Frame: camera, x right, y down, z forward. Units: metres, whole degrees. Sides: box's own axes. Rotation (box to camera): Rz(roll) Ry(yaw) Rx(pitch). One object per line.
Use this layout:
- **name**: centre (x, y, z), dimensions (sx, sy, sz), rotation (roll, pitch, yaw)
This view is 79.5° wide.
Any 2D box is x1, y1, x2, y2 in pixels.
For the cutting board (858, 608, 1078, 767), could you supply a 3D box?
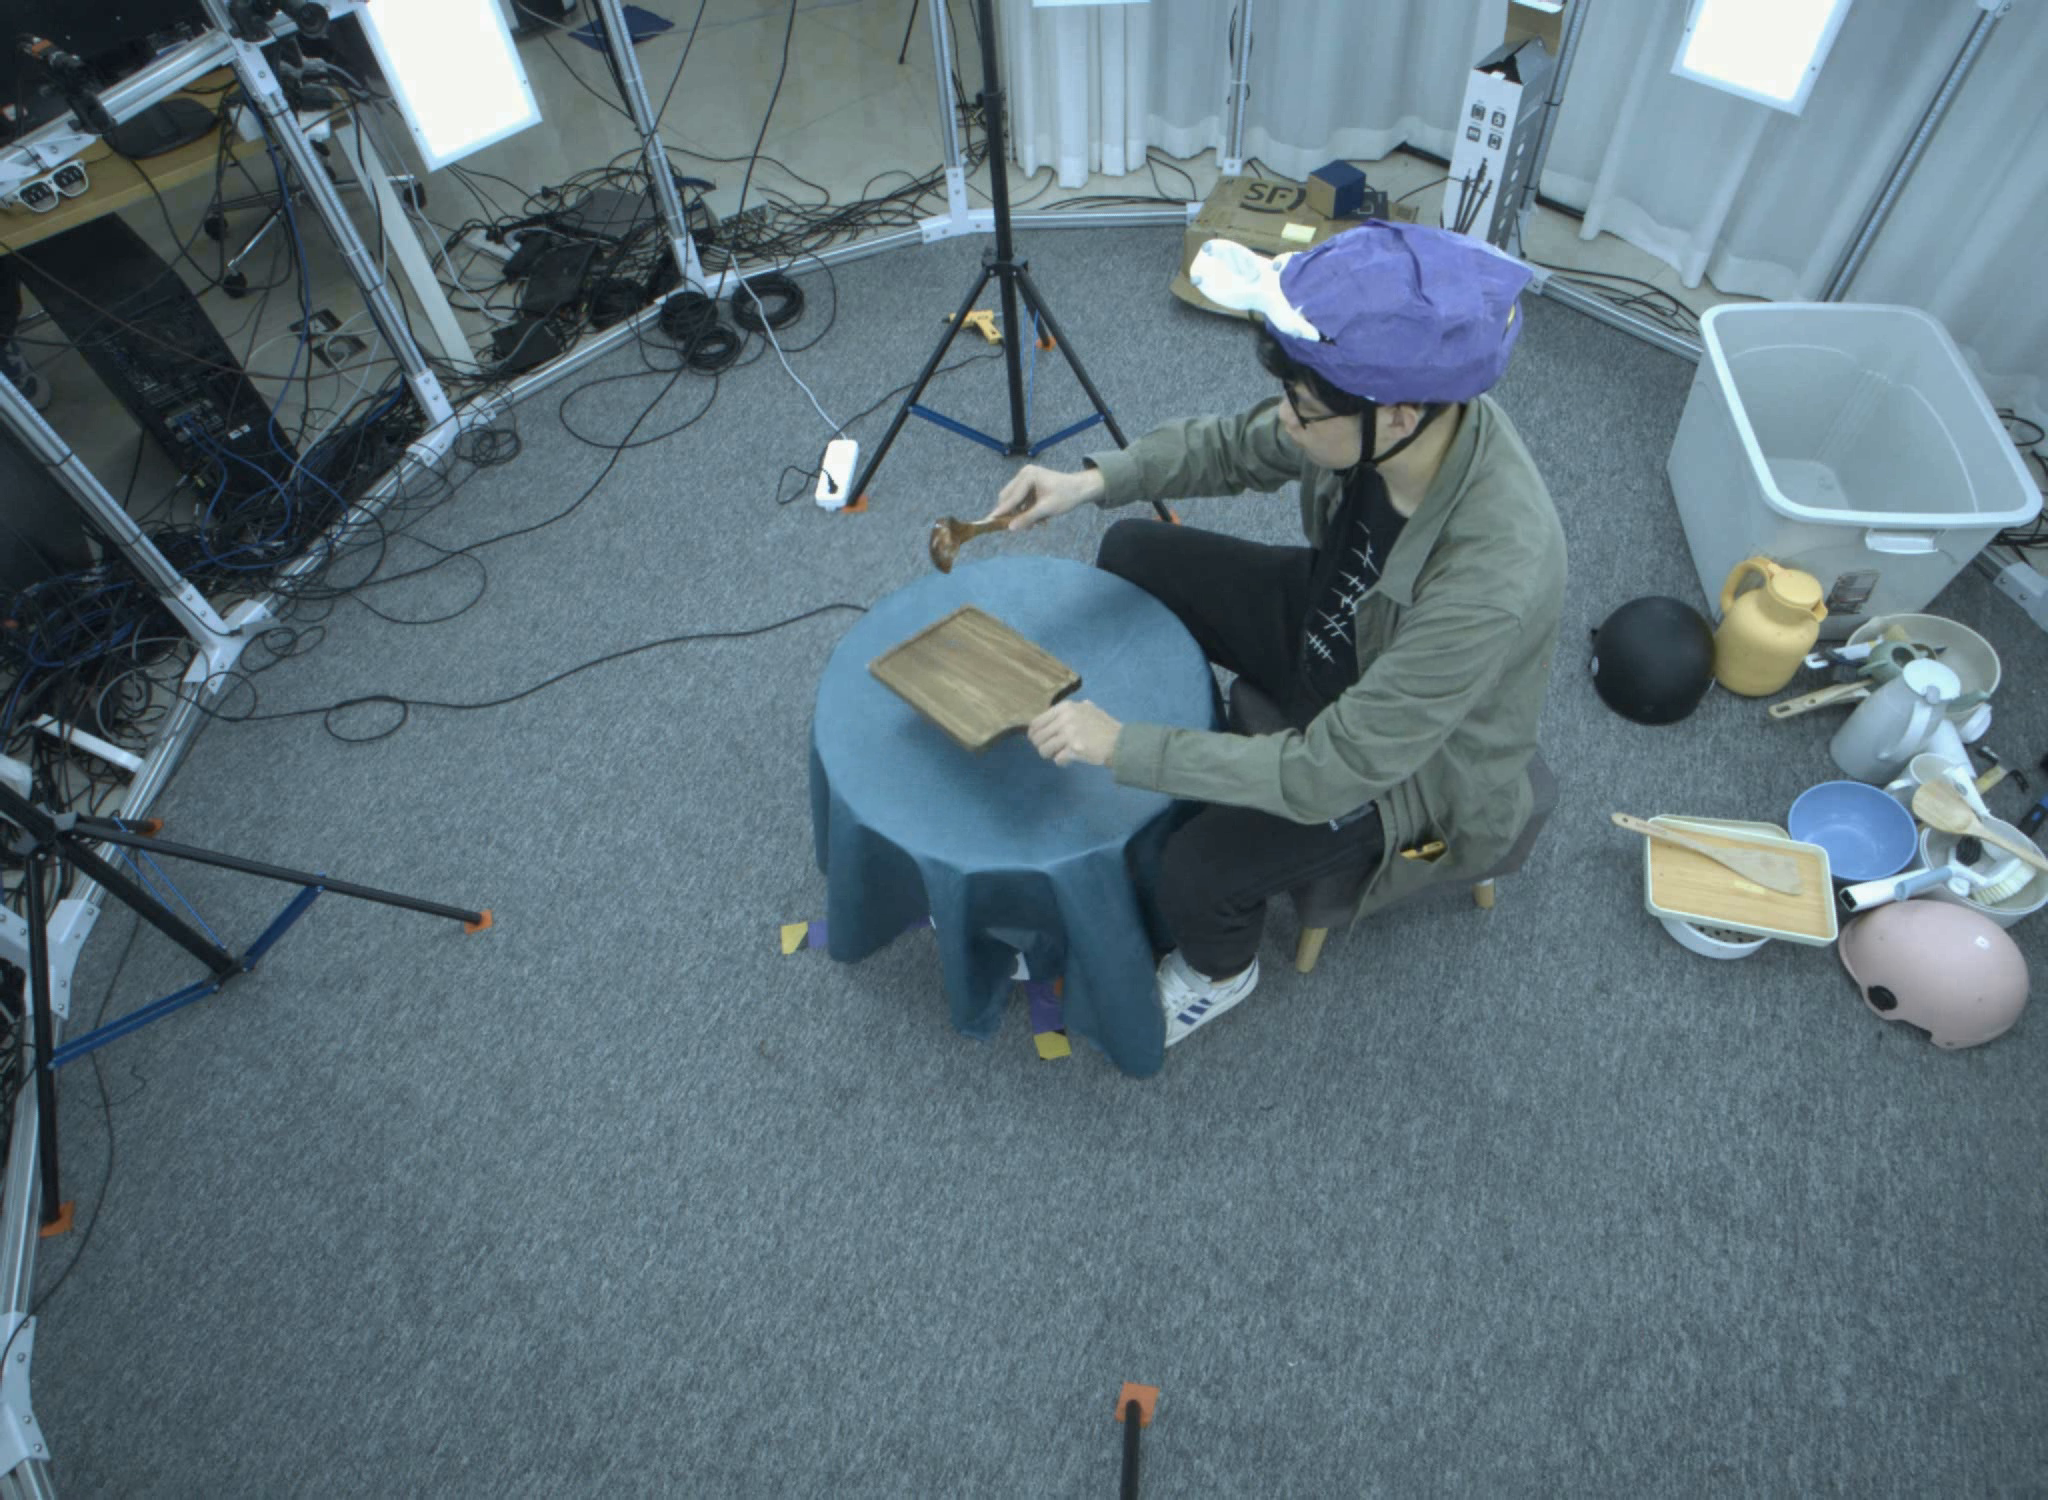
- **cutting board**: centre (-0.053, -0.072, 1.699), dimensions (0.203, 0.023, 0.344), rotation (-35, 53, -24)

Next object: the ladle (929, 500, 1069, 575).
- **ladle**: centre (-0.026, -0.321, 1.779), dimensions (0.278, 0.082, 0.075), rotation (-20, 44, -32)
